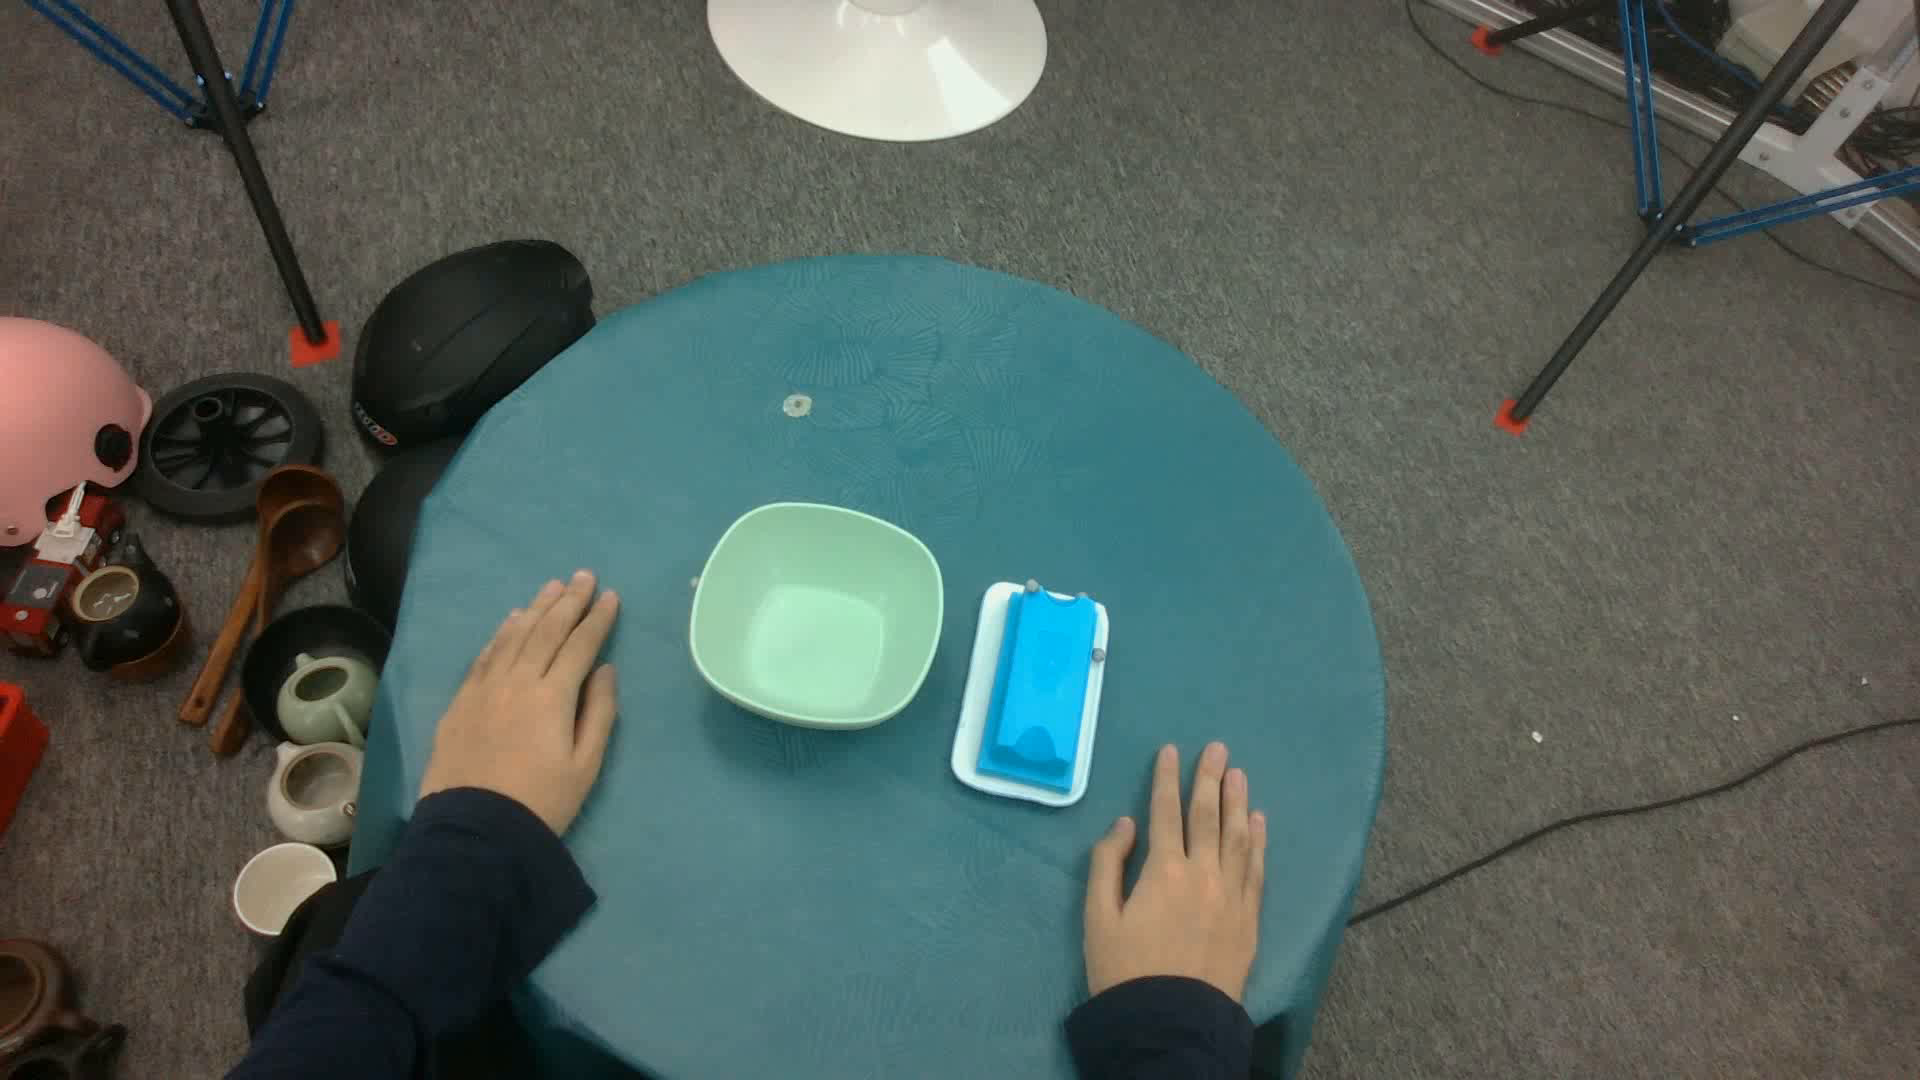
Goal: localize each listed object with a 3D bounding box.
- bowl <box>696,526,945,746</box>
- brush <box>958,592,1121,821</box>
[{"bbox_3d":[-0.081,0.065,0.807,0.151,0.058,0.152,3,56,-4],"label":"bowl"},{"bbox_3d":[0.050,0.090,0.807,0.084,0.055,0.144,11,54,3],"label":"brush"}]
